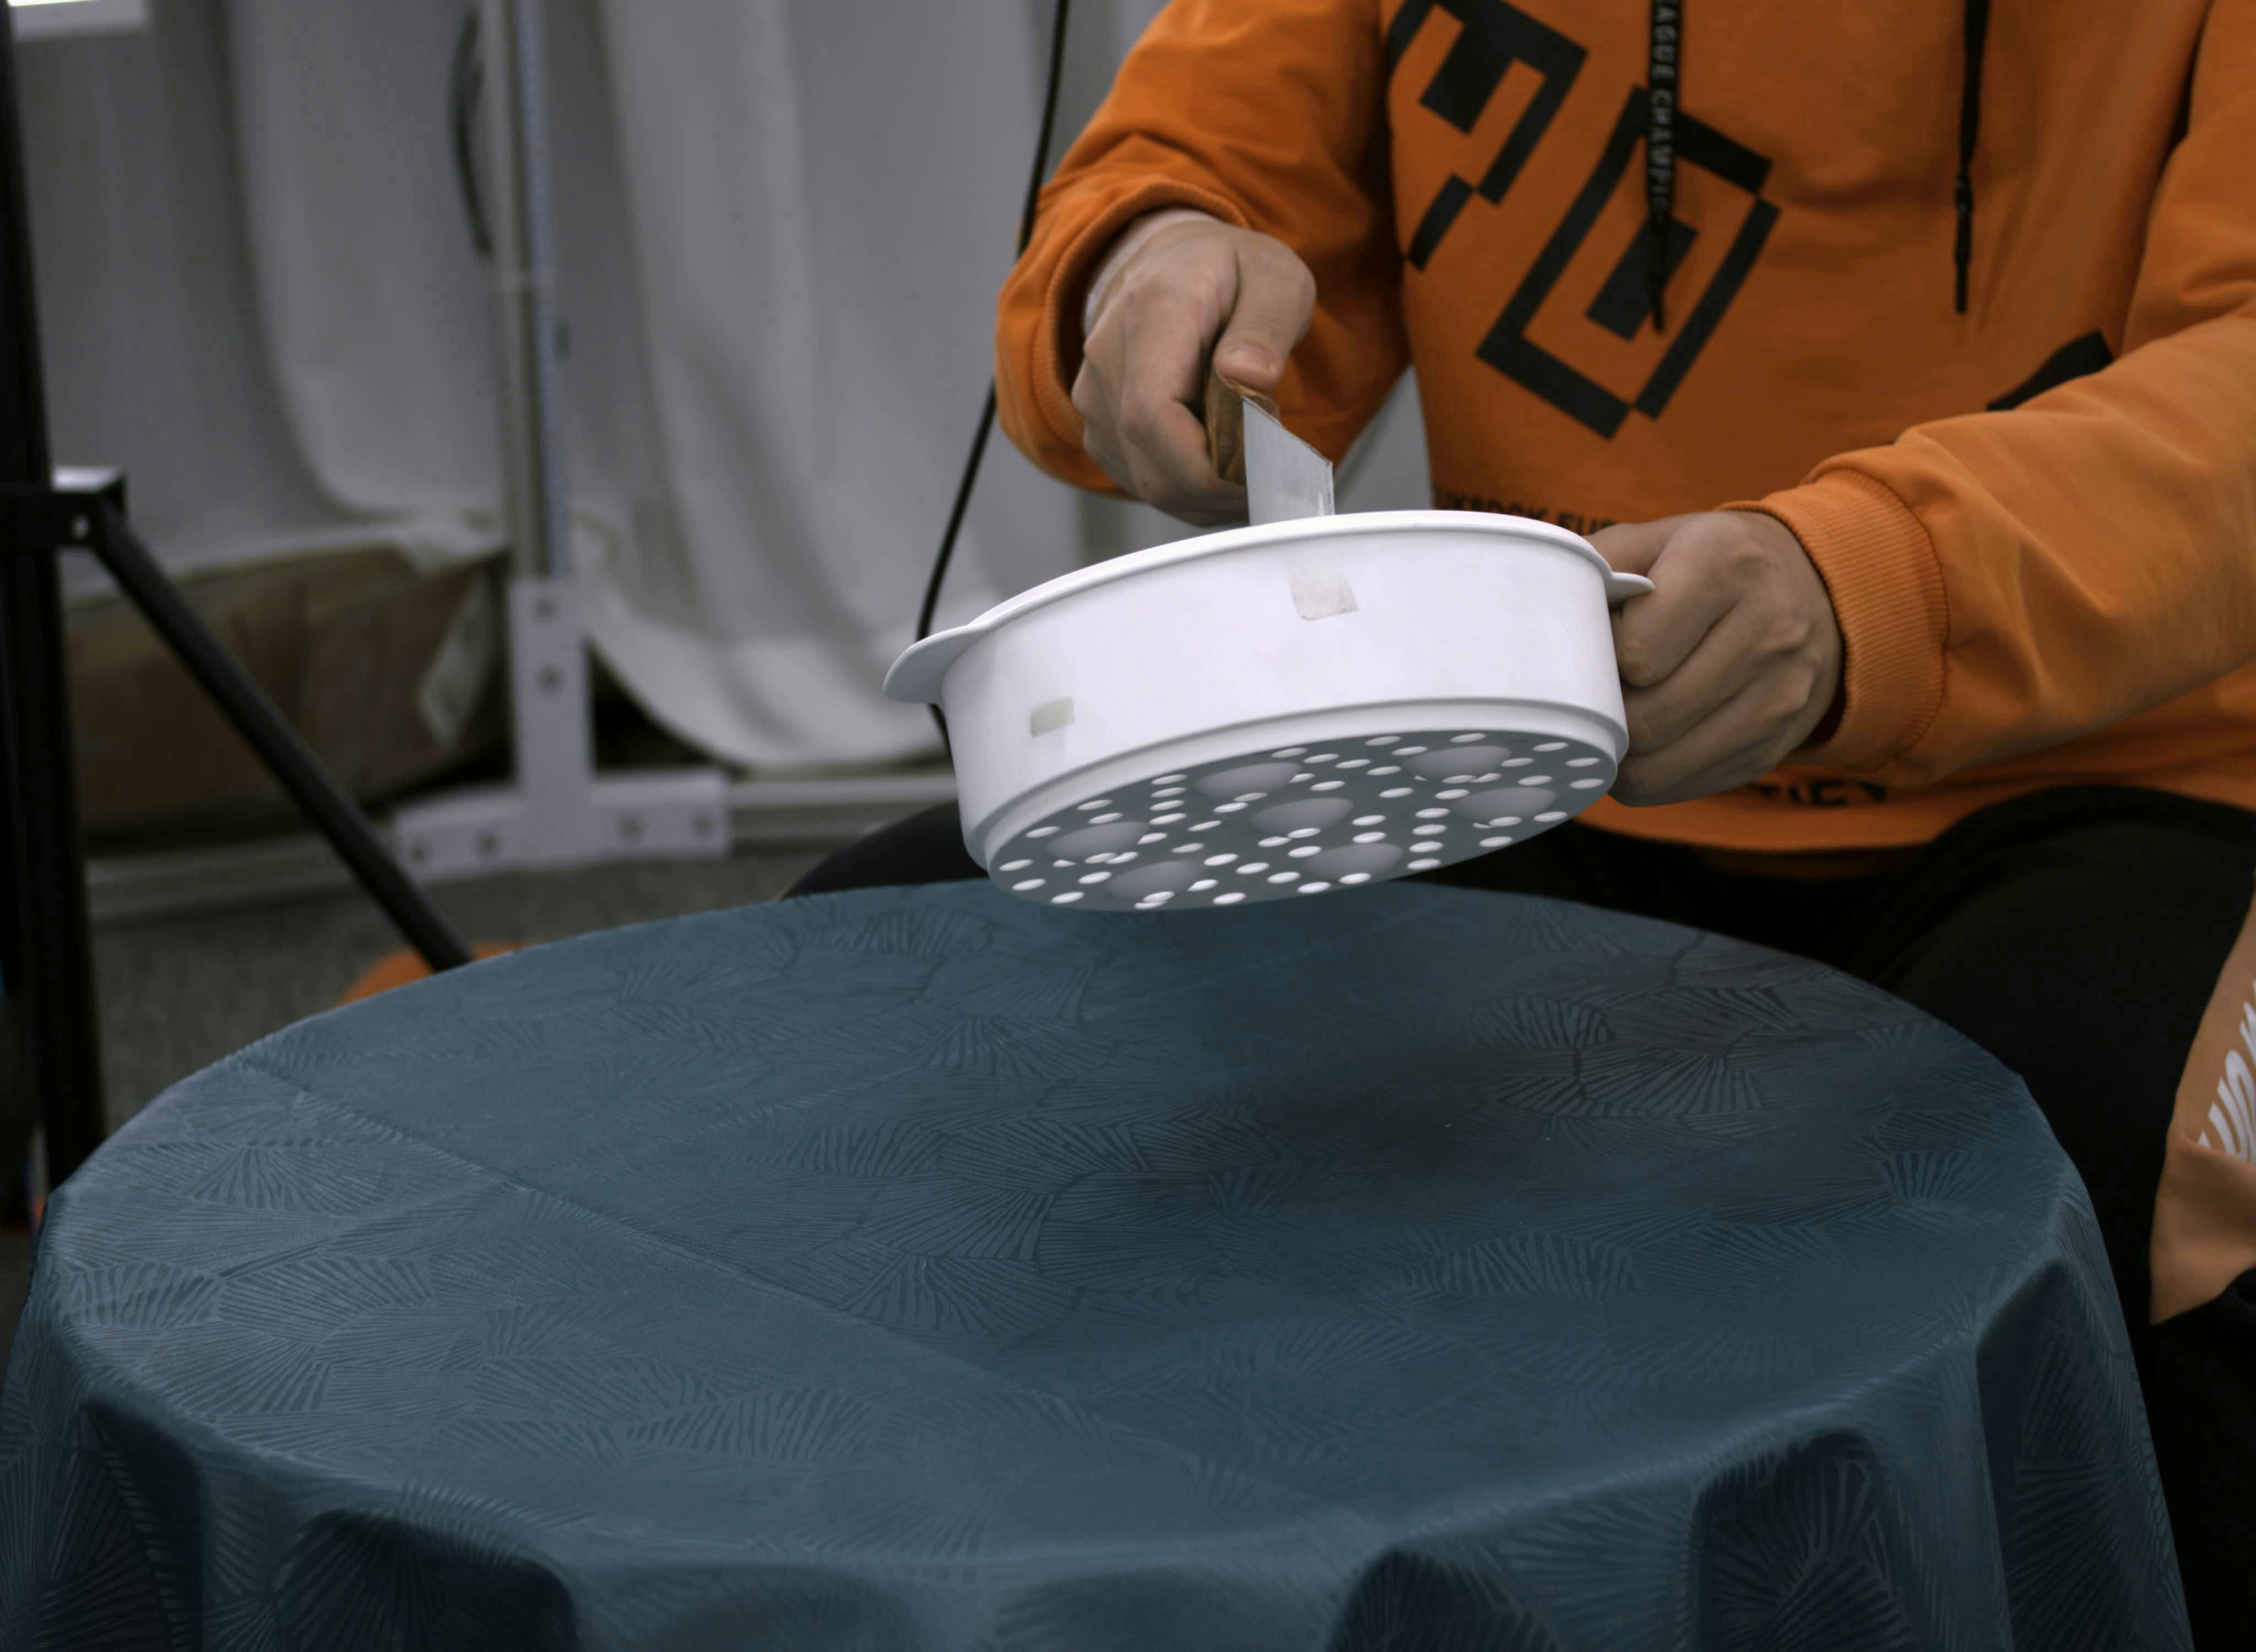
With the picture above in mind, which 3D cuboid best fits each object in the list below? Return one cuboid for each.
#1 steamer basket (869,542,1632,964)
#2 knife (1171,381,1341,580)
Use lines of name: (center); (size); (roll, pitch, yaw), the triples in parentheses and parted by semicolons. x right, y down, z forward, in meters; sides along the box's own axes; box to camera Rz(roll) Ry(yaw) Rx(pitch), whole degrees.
steamer basket: (0.042, -0.016, 1.534); (0.227, 0.070, 0.203); (-9, -14, -16)
knife: (0.042, -0.087, 1.641); (0.021, 0.093, 0.308); (-5, 10, -5)
